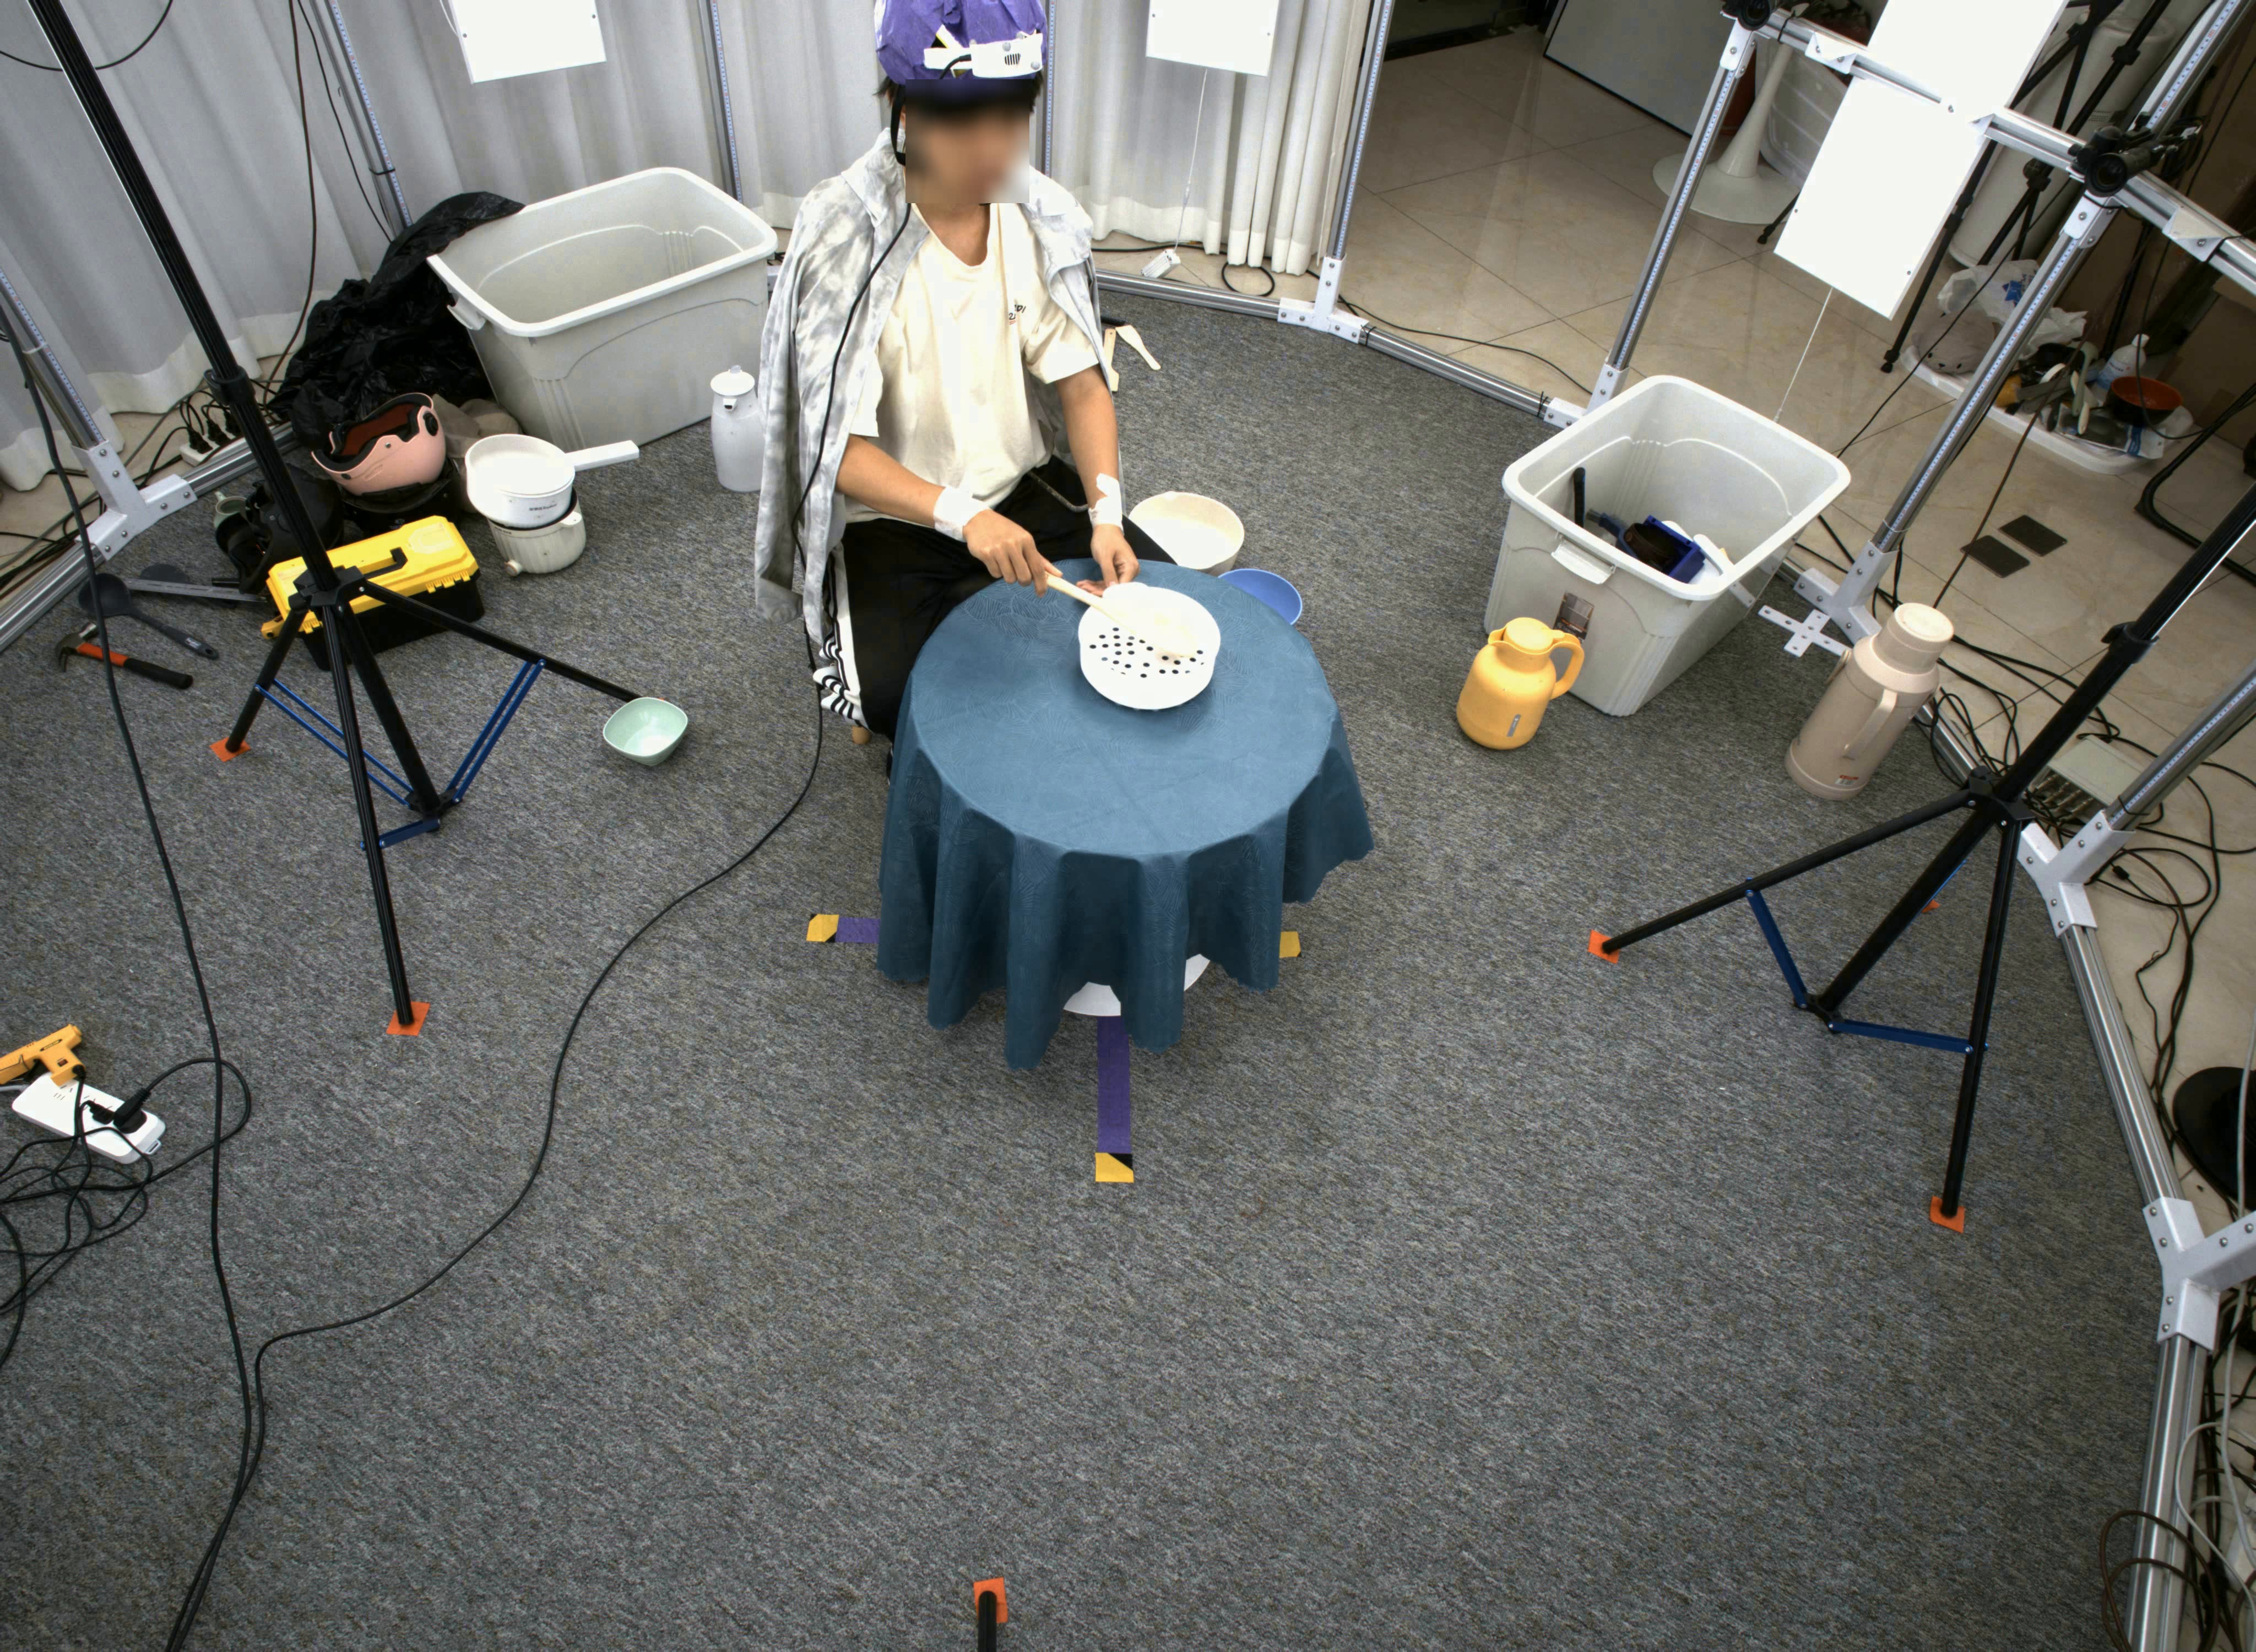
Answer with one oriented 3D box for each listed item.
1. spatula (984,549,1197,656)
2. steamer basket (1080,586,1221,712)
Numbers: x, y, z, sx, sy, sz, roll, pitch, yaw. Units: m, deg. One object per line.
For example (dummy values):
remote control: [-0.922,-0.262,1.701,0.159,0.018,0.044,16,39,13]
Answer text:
spatula: [-0.048,-0.322,1.810,0.325,0.016,0.082,20,51,-15]
steamer basket: [0.030,-0.250,1.838,0.202,0.067,0.236,-12,50,-16]
